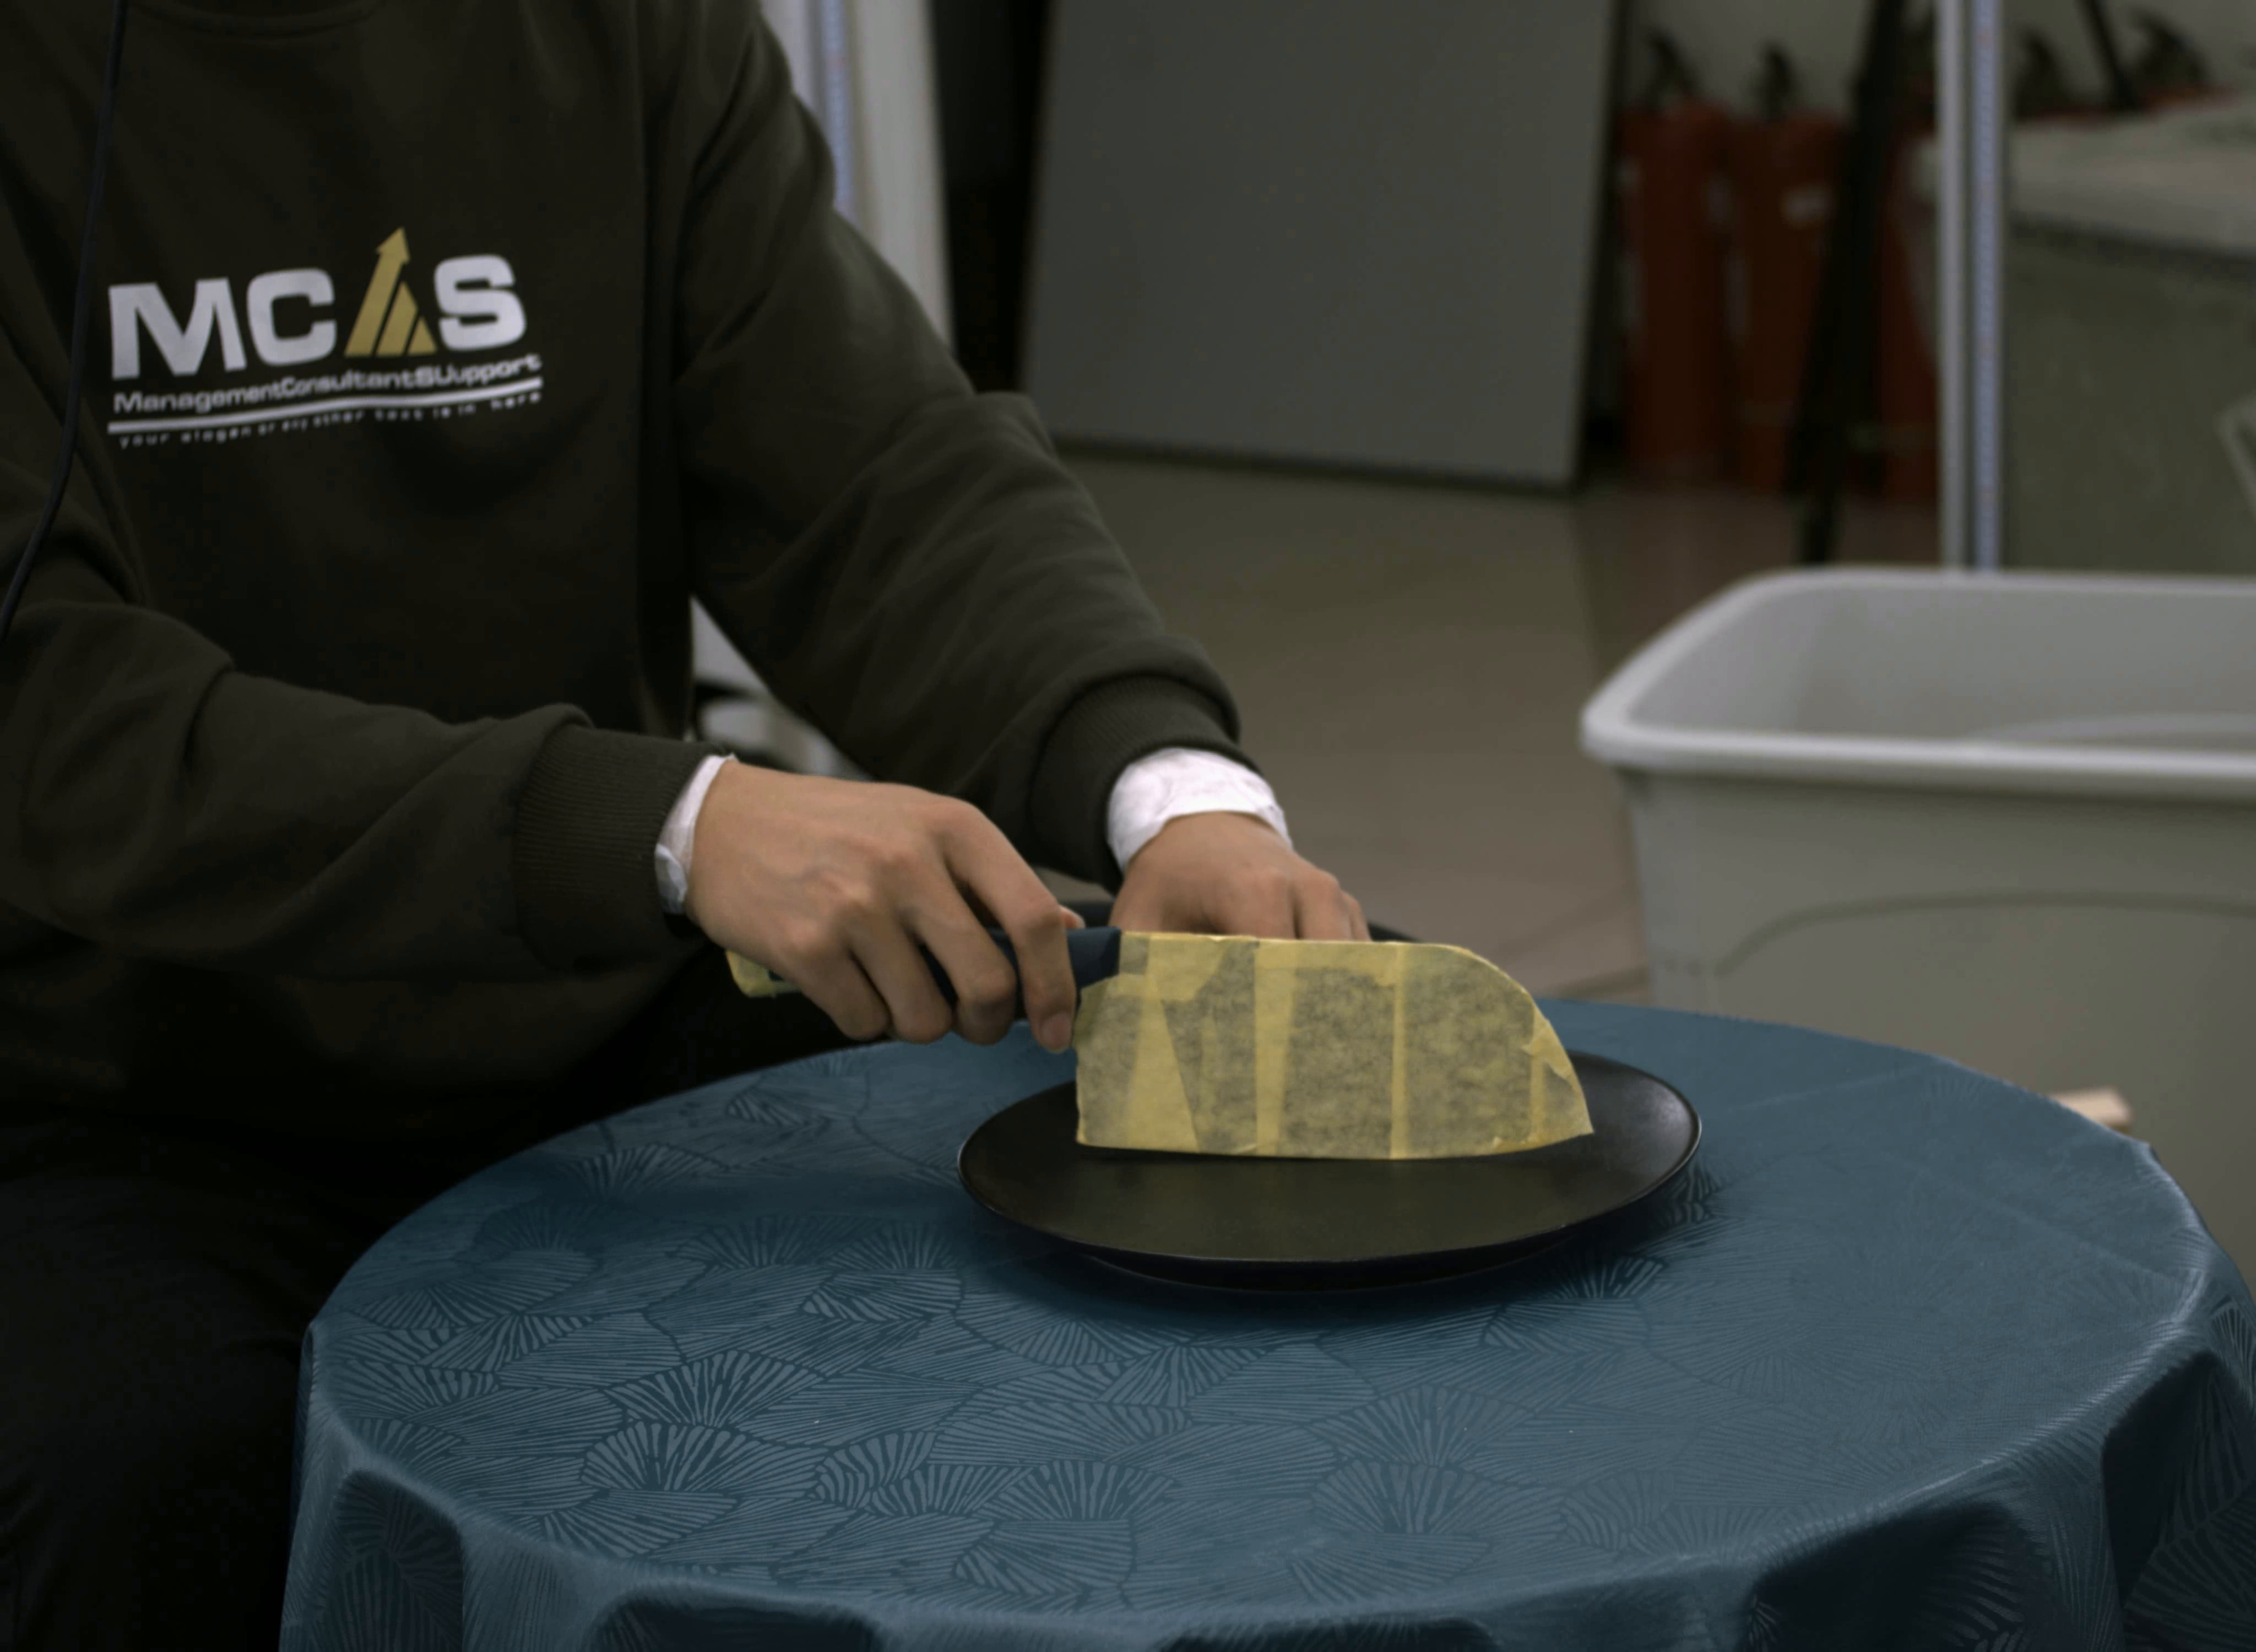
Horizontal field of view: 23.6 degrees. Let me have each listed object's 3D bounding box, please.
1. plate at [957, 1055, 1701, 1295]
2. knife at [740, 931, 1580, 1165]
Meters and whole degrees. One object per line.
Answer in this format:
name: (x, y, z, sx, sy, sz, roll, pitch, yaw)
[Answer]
plate: (0.065, 0.112, 1.743, 0.241, 0.024, 0.245, -4, 13, 0)
knife: (0.009, 0.070, 1.777, 0.288, 0.082, 0.027, 4, 2, 16)
